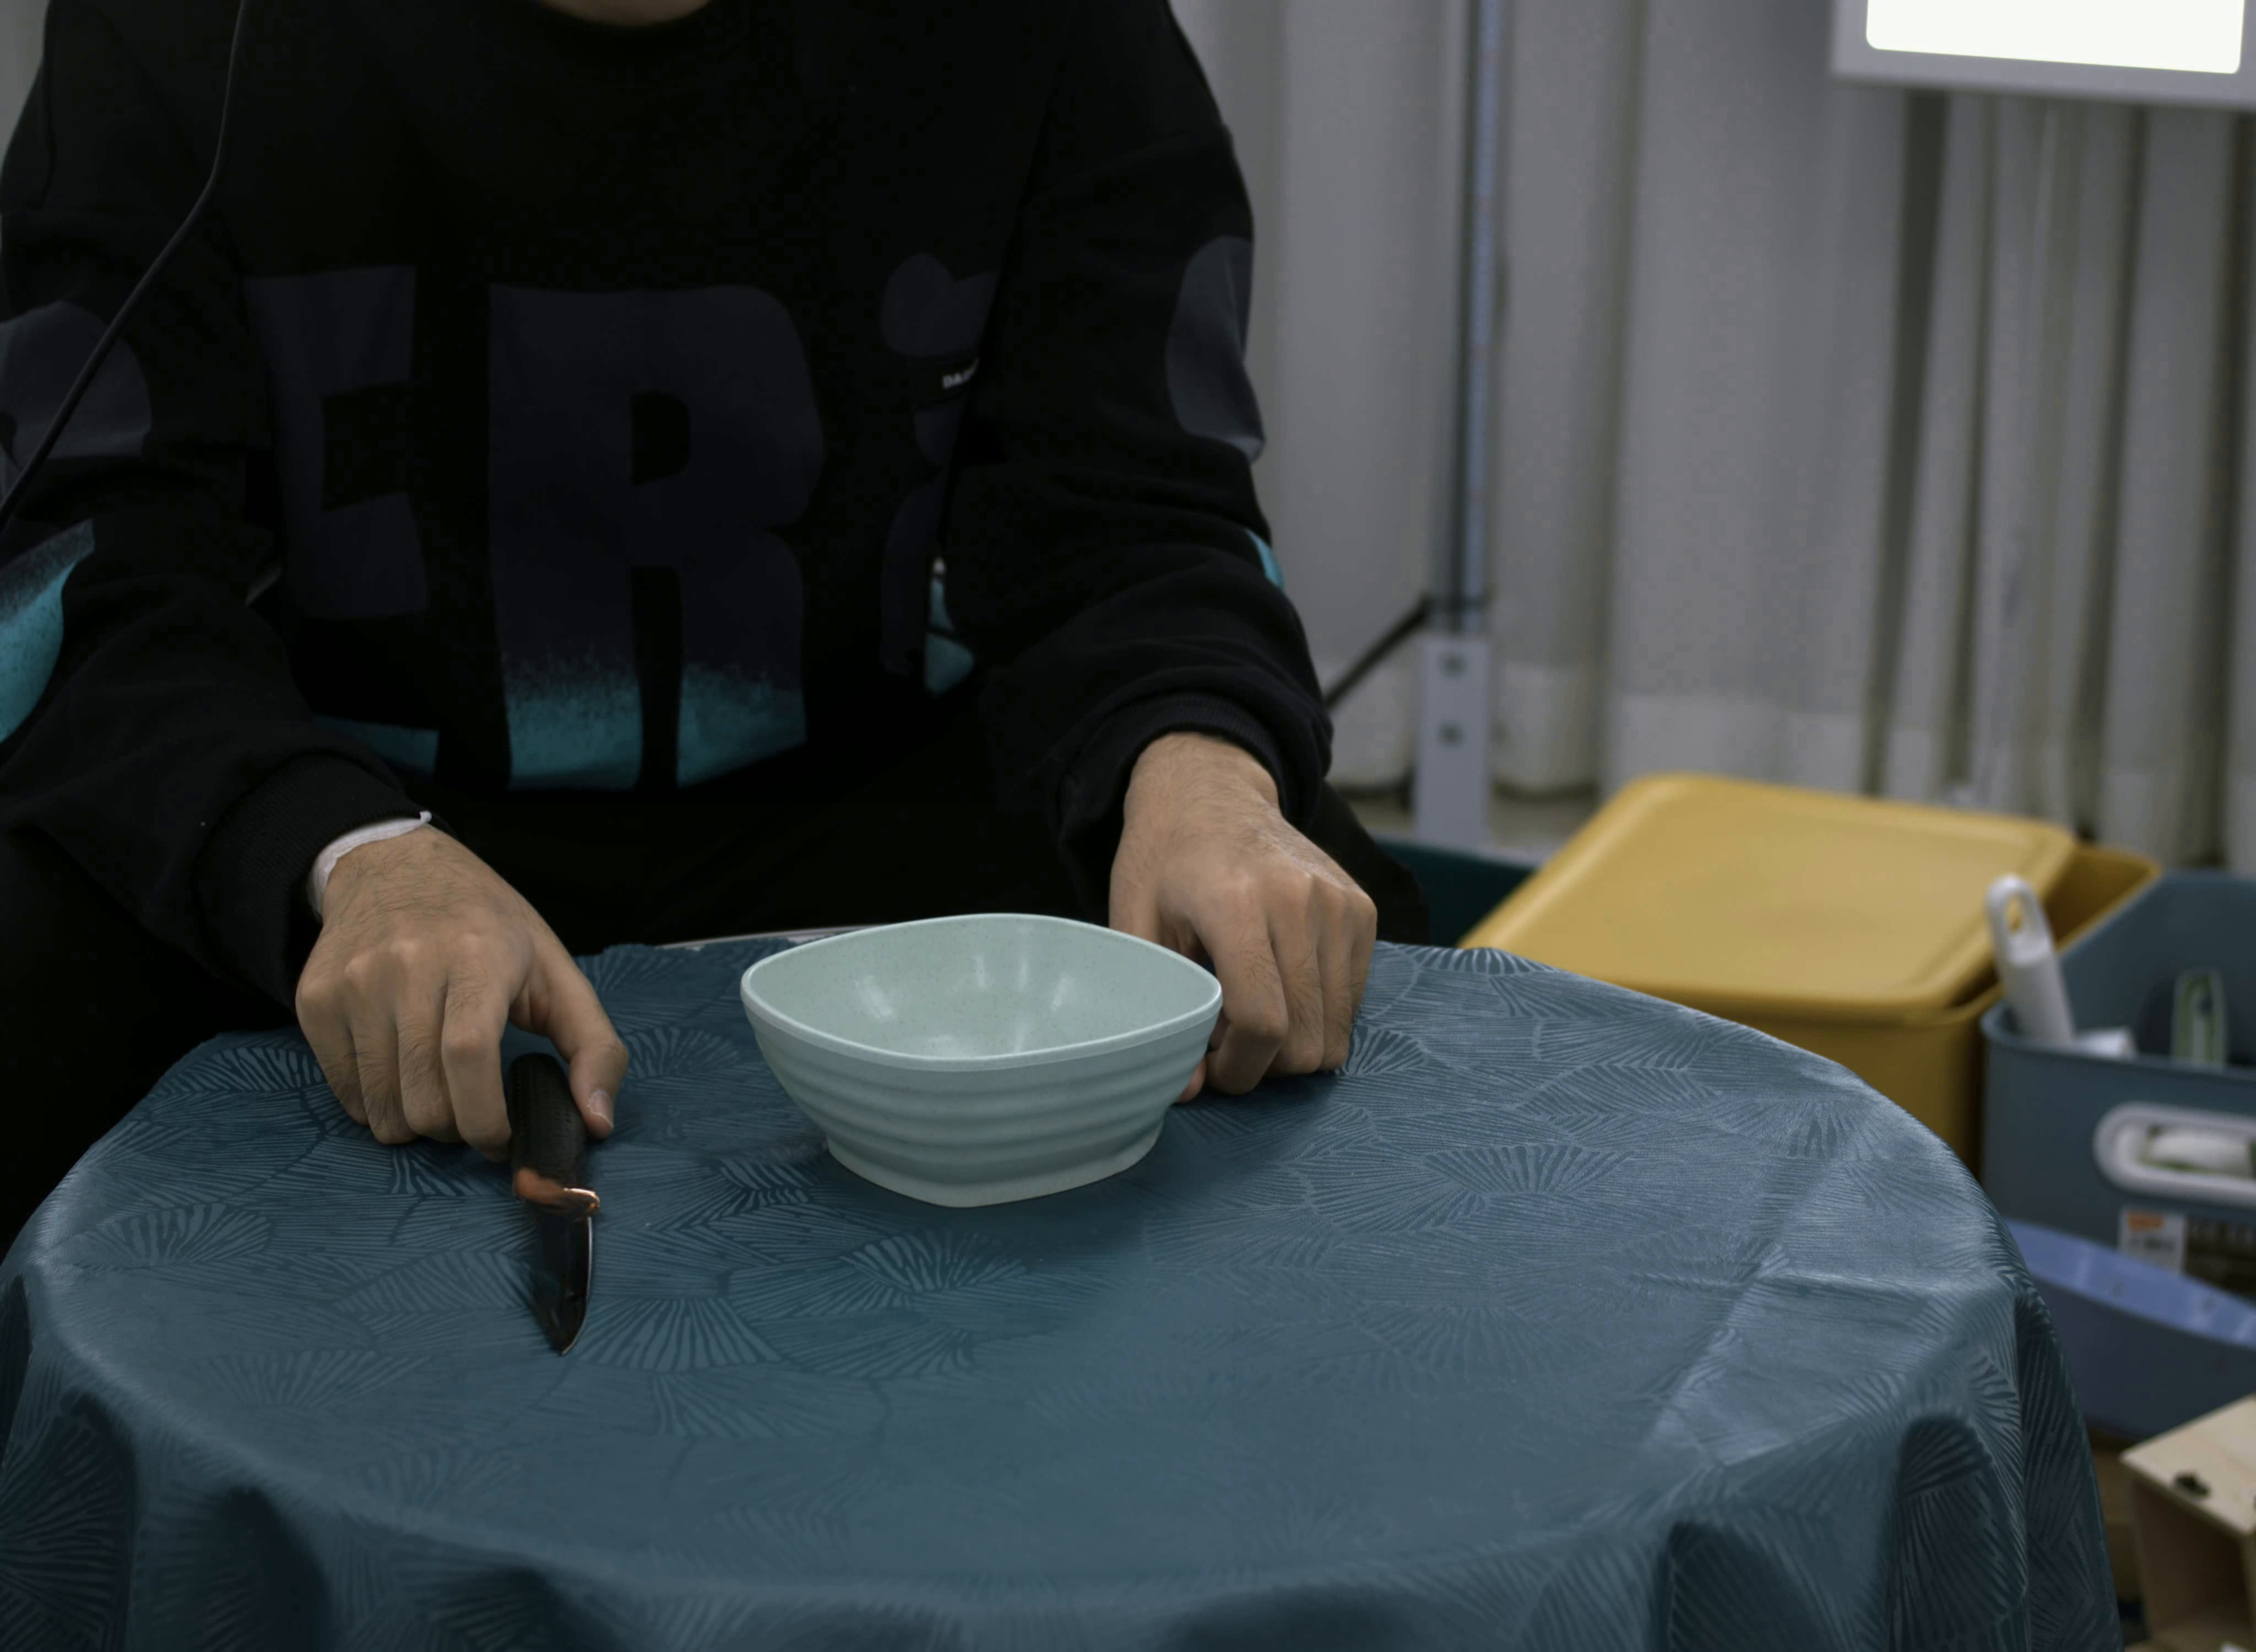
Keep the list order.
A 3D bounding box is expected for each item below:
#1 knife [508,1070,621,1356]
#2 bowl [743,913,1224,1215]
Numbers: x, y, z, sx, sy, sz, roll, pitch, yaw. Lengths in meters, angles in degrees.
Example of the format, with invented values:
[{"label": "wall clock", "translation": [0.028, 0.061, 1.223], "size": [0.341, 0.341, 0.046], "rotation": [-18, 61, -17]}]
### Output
[{"label": "knife", "translation": [-0.171, 0.115, 1.587], "size": [0.026, 0.017, 0.223], "rotation": [4, 16, -11]}, {"label": "bowl", "translation": [-0.045, 0.077, 1.645], "size": [0.151, 0.059, 0.150], "rotation": [0, 17, 1]}]
